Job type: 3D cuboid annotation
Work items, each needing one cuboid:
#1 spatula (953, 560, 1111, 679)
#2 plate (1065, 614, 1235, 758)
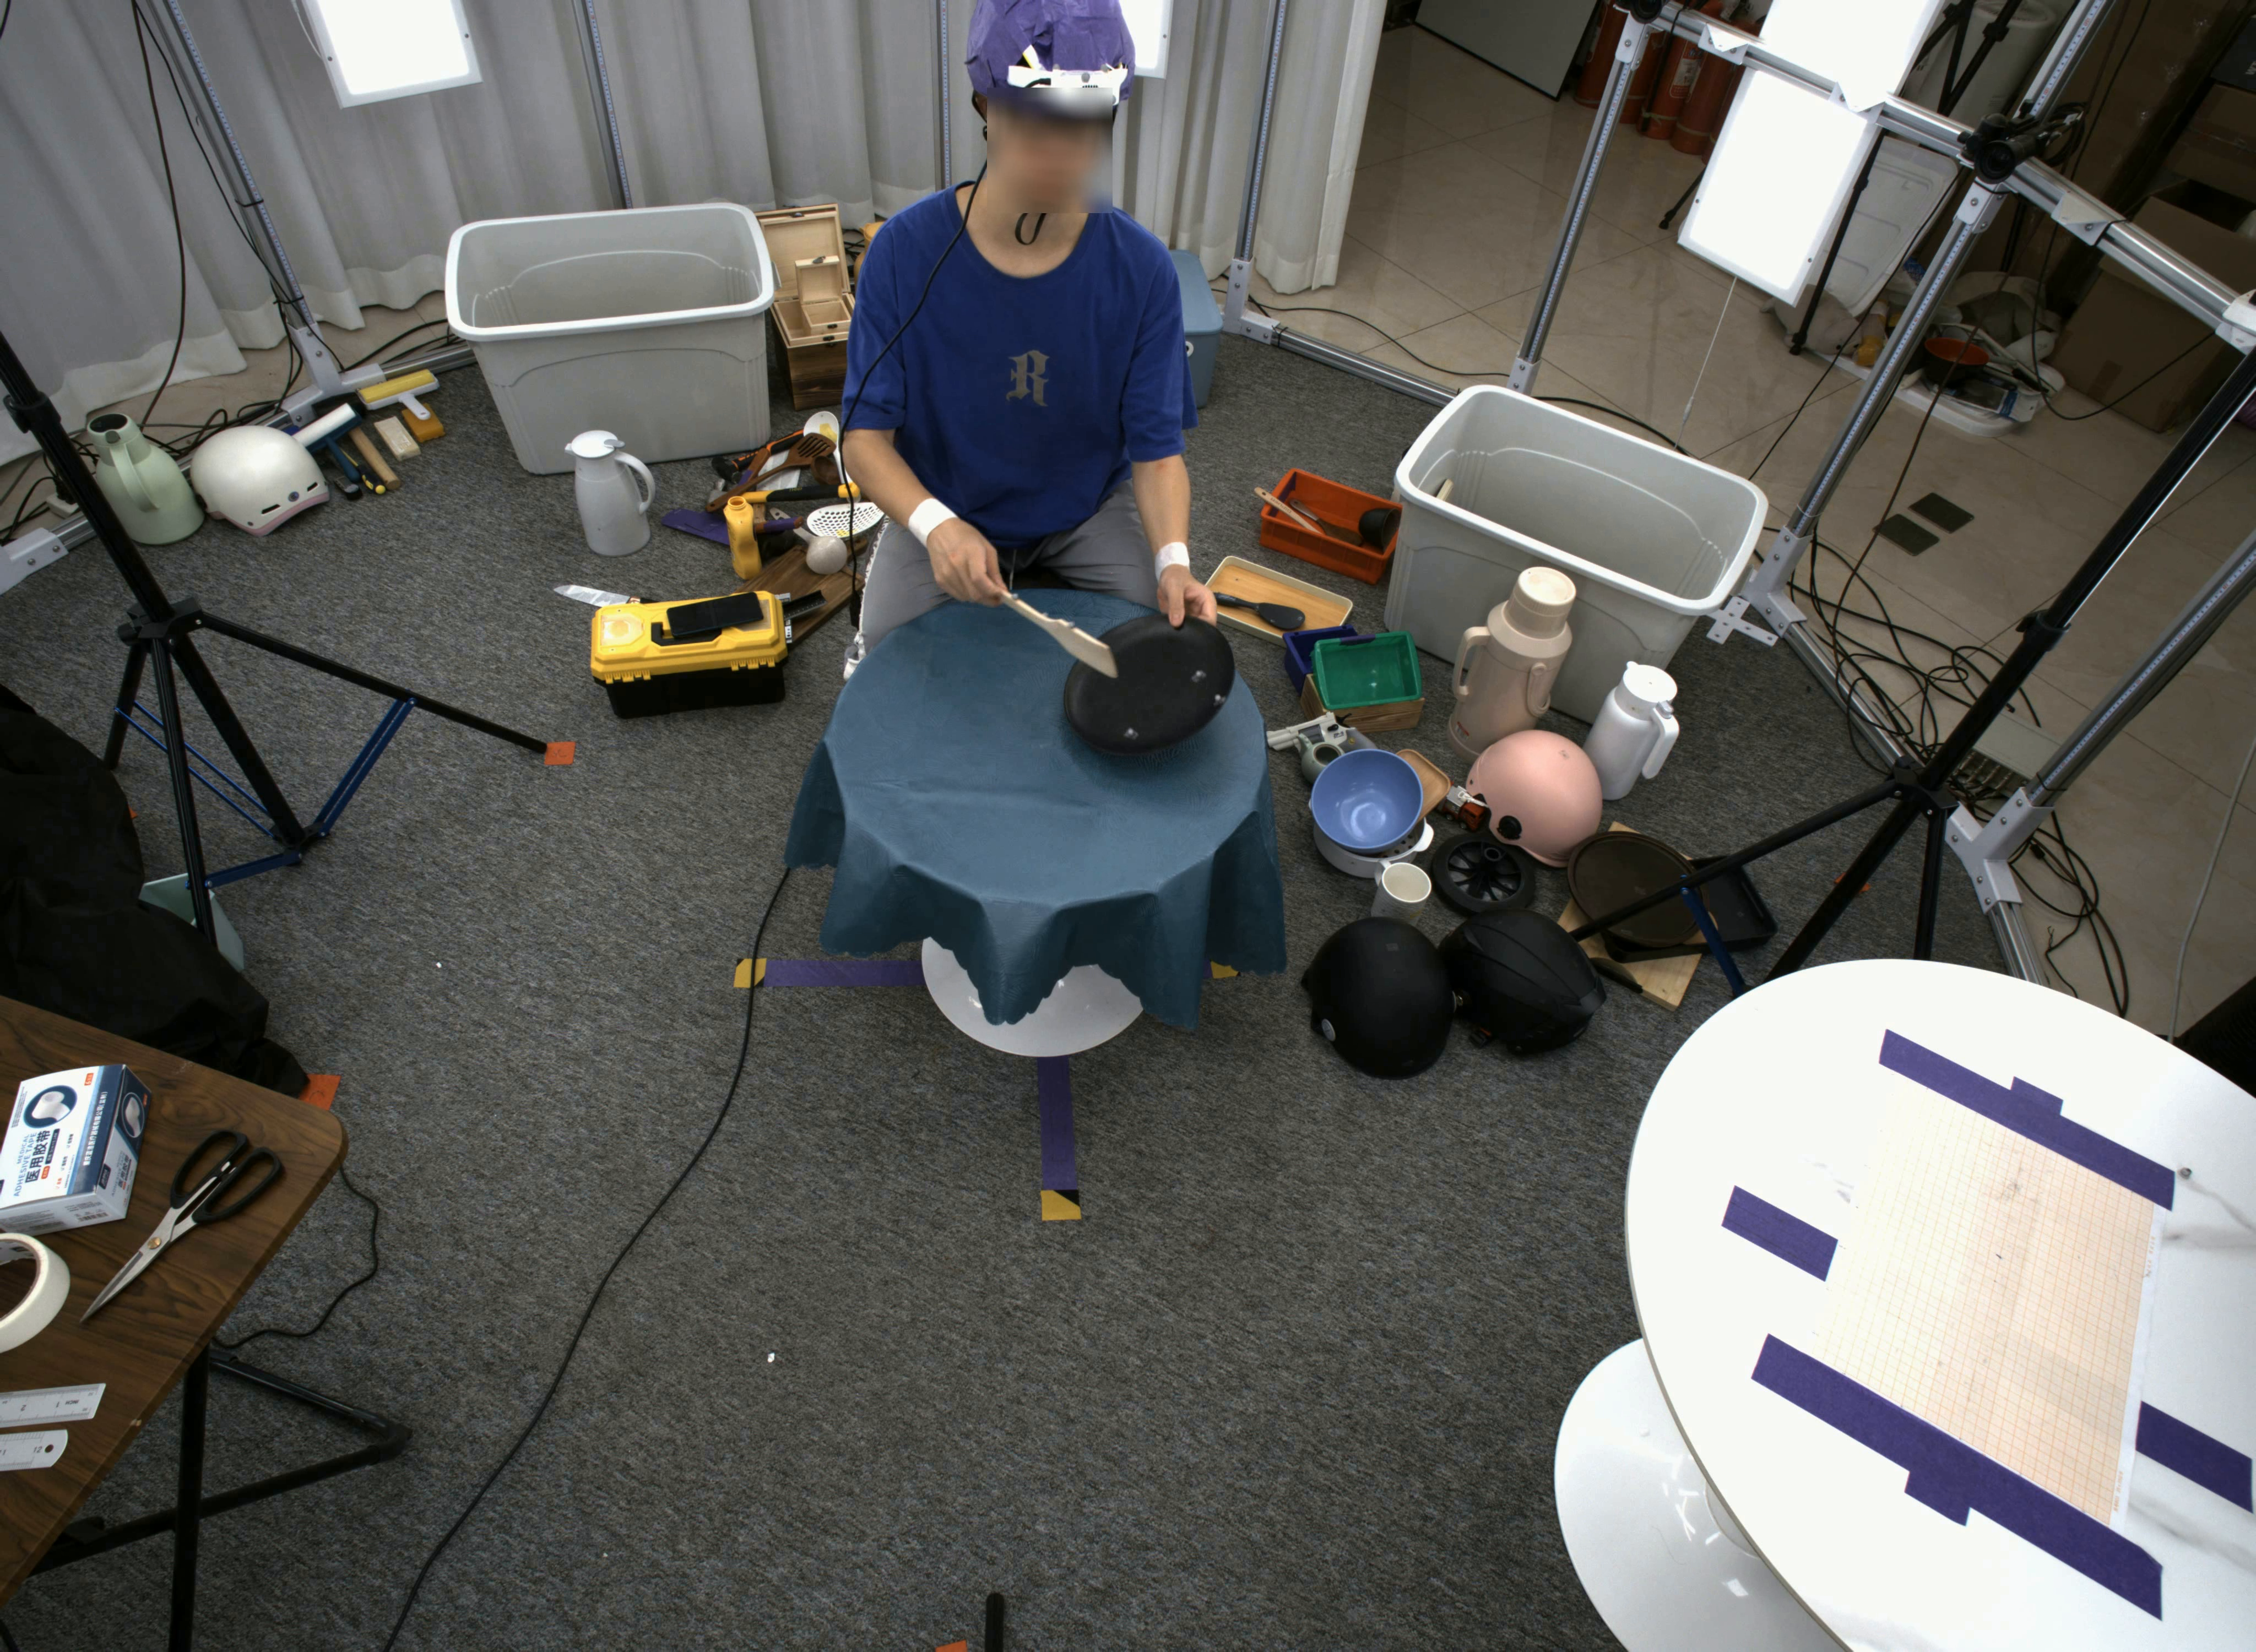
[{"bbox_3d":[-0.134,-0.284,1.715,0.297,0.071,0.011,37,76,28],"label":"spatula"},{"bbox_3d":[0.031,-0.190,1.761,0.244,0.023,0.250,-10,54,15],"label":"plate"}]
